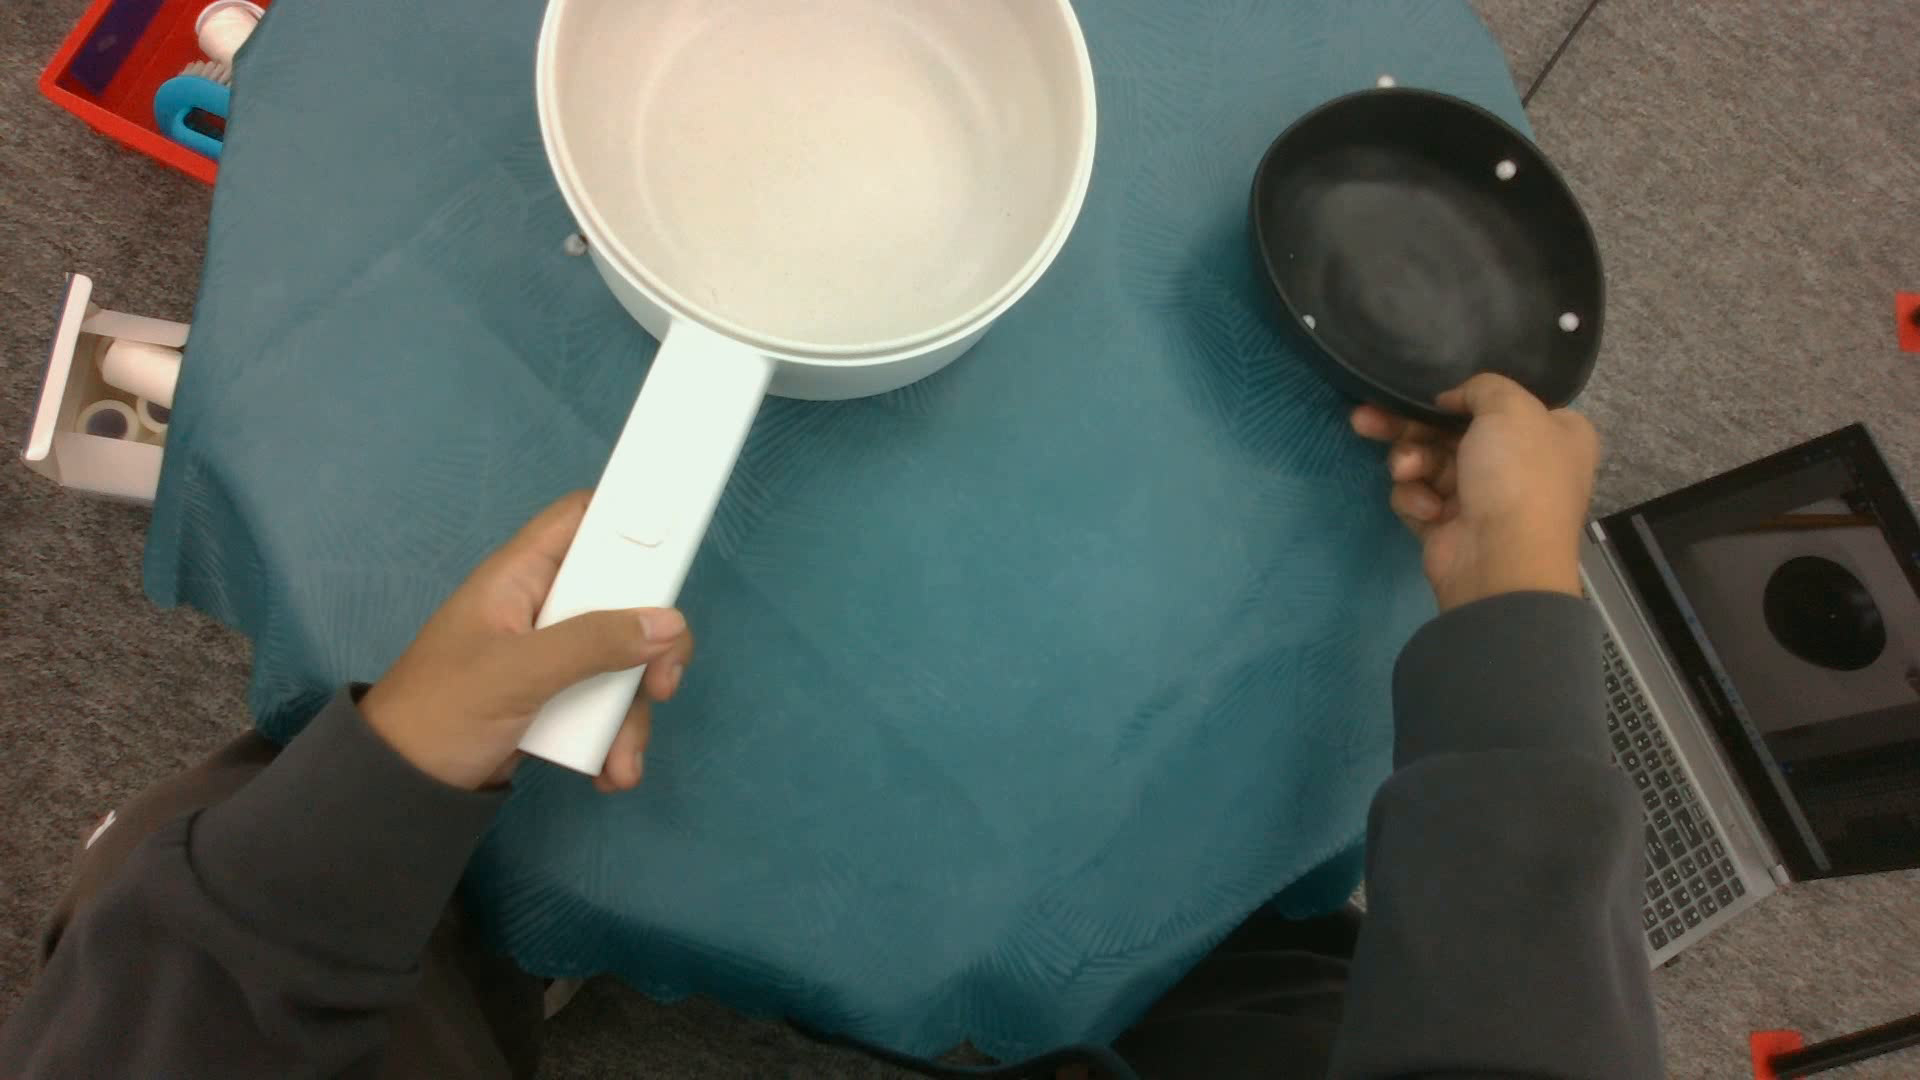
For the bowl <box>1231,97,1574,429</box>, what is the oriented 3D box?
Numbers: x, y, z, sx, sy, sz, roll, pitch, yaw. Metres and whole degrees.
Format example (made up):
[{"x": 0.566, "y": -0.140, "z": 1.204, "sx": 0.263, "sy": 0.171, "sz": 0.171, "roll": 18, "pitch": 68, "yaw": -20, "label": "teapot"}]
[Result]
[{"x": 0.193, "y": -0.117, "z": 0.620, "sx": 0.170, "sy": 0.066, "sz": 0.137, "roll": 31, "pitch": 76, "yaw": -3, "label": "bowl"}]

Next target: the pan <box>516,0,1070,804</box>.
[{"x": -0.087, "y": -0.073, "z": 0.551, "sx": 0.201, "sy": 0.102, "sz": 0.355, "roll": 20, "pitch": 80, "yaw": -8, "label": "pan"}]
